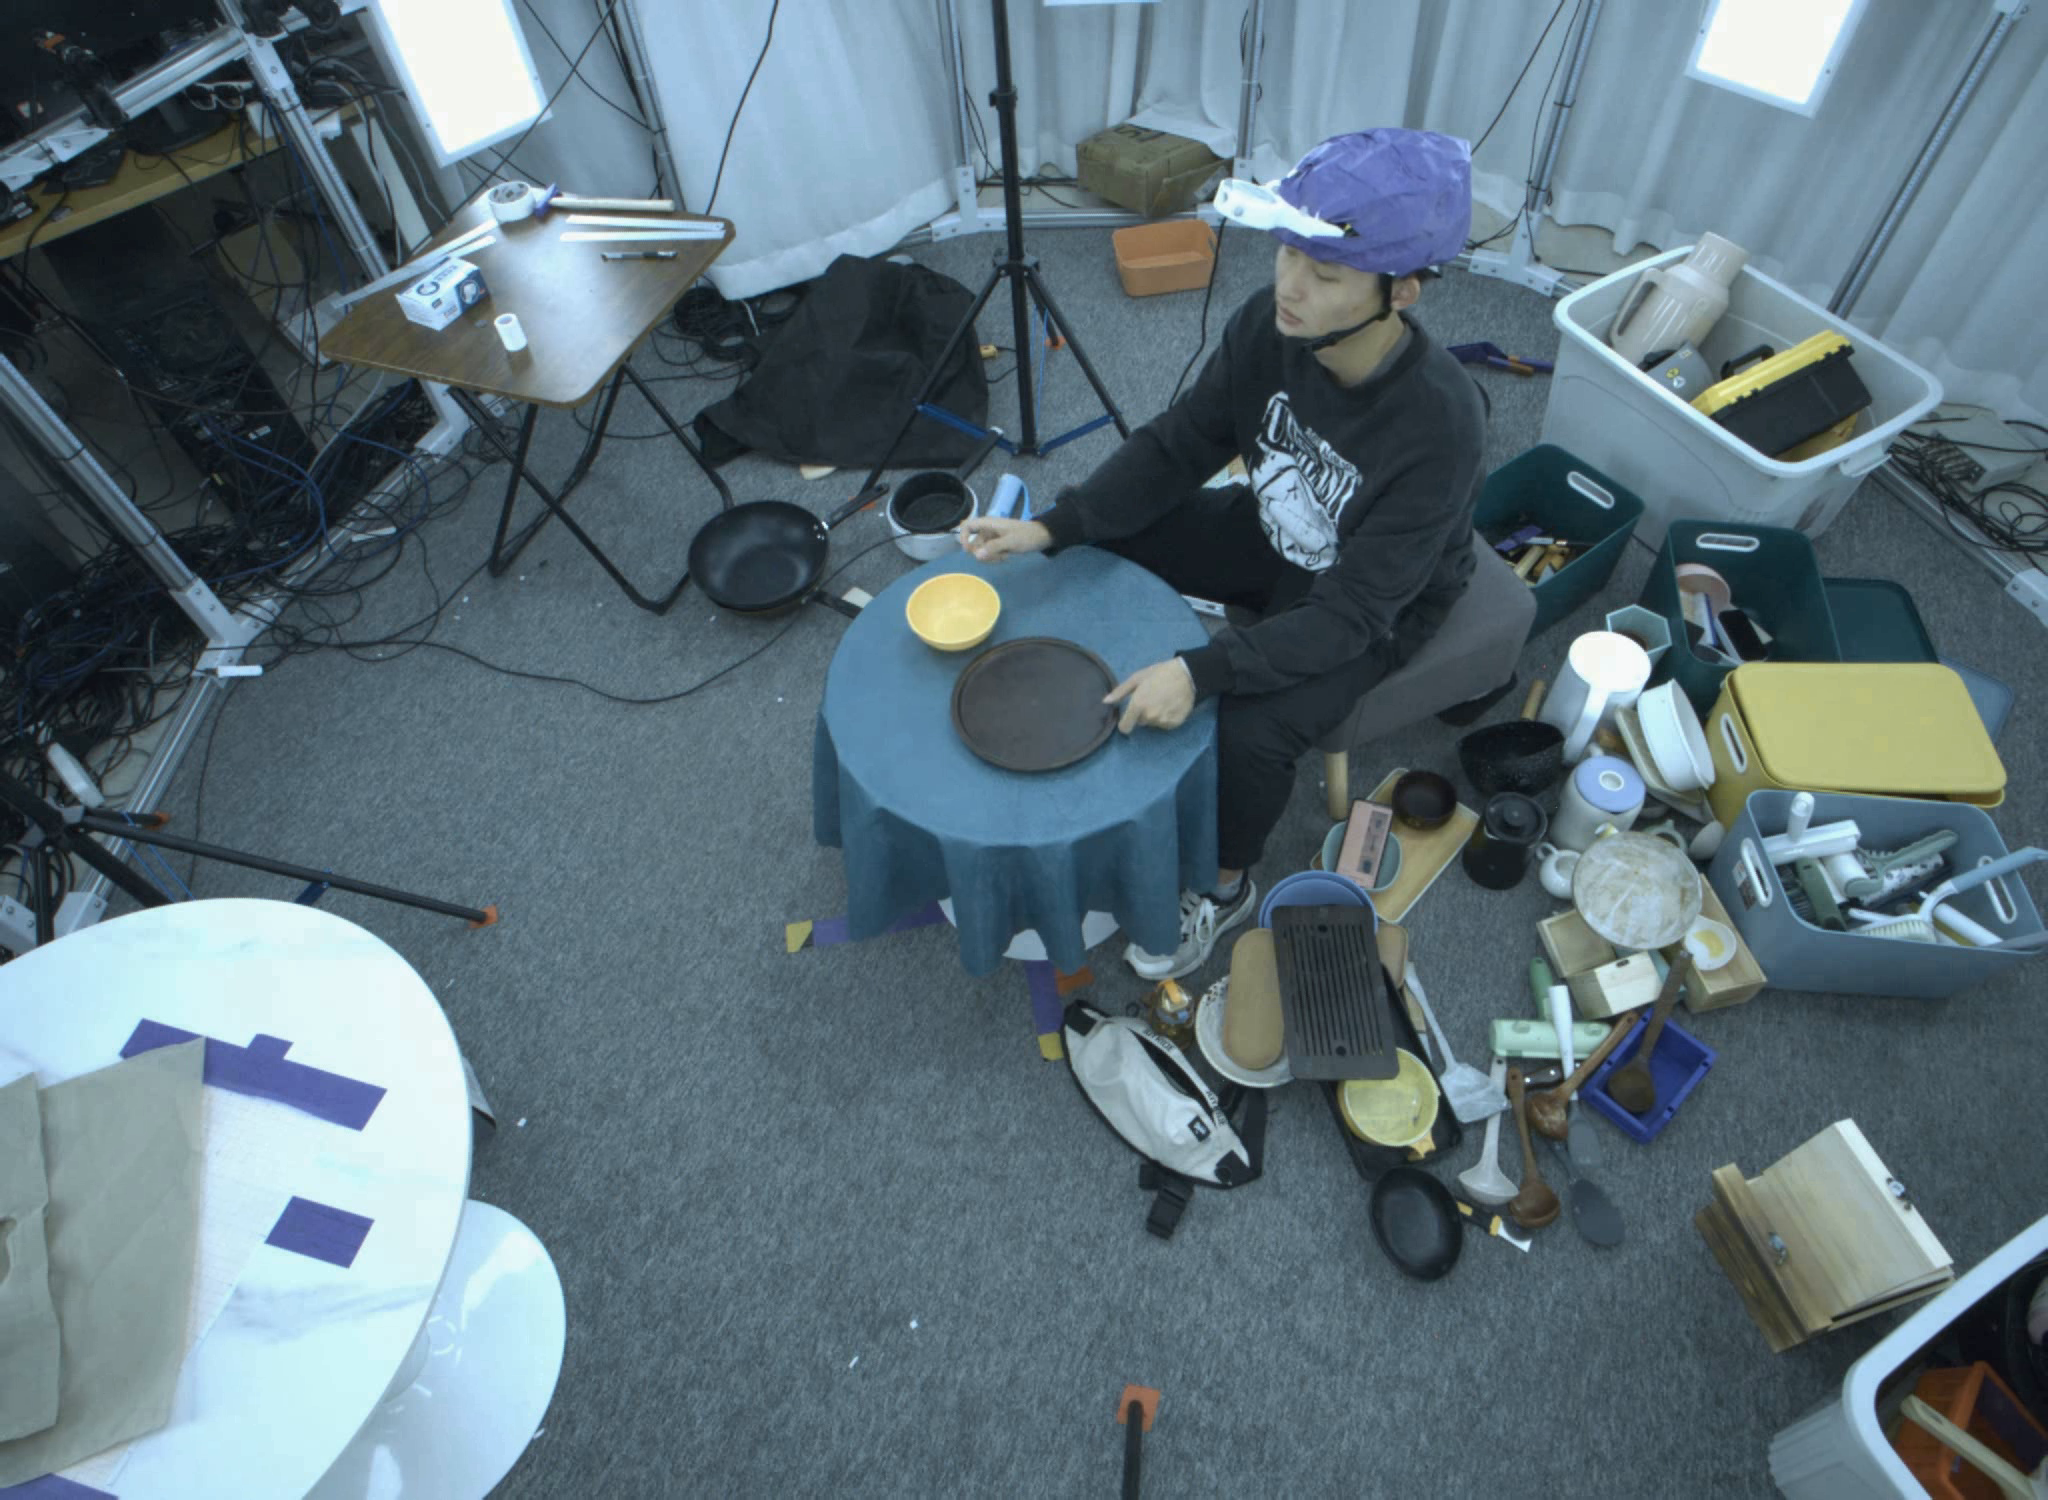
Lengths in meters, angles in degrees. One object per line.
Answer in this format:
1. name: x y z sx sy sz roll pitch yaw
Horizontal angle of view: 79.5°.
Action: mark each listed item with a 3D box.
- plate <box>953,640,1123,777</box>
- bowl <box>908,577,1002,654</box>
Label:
1. plate: 0.020 -0.063 1.828 0.254 0.029 0.252 -1 53 2
2. bowl: -0.106 -0.197 1.906 0.145 0.060 0.144 1 55 -1
